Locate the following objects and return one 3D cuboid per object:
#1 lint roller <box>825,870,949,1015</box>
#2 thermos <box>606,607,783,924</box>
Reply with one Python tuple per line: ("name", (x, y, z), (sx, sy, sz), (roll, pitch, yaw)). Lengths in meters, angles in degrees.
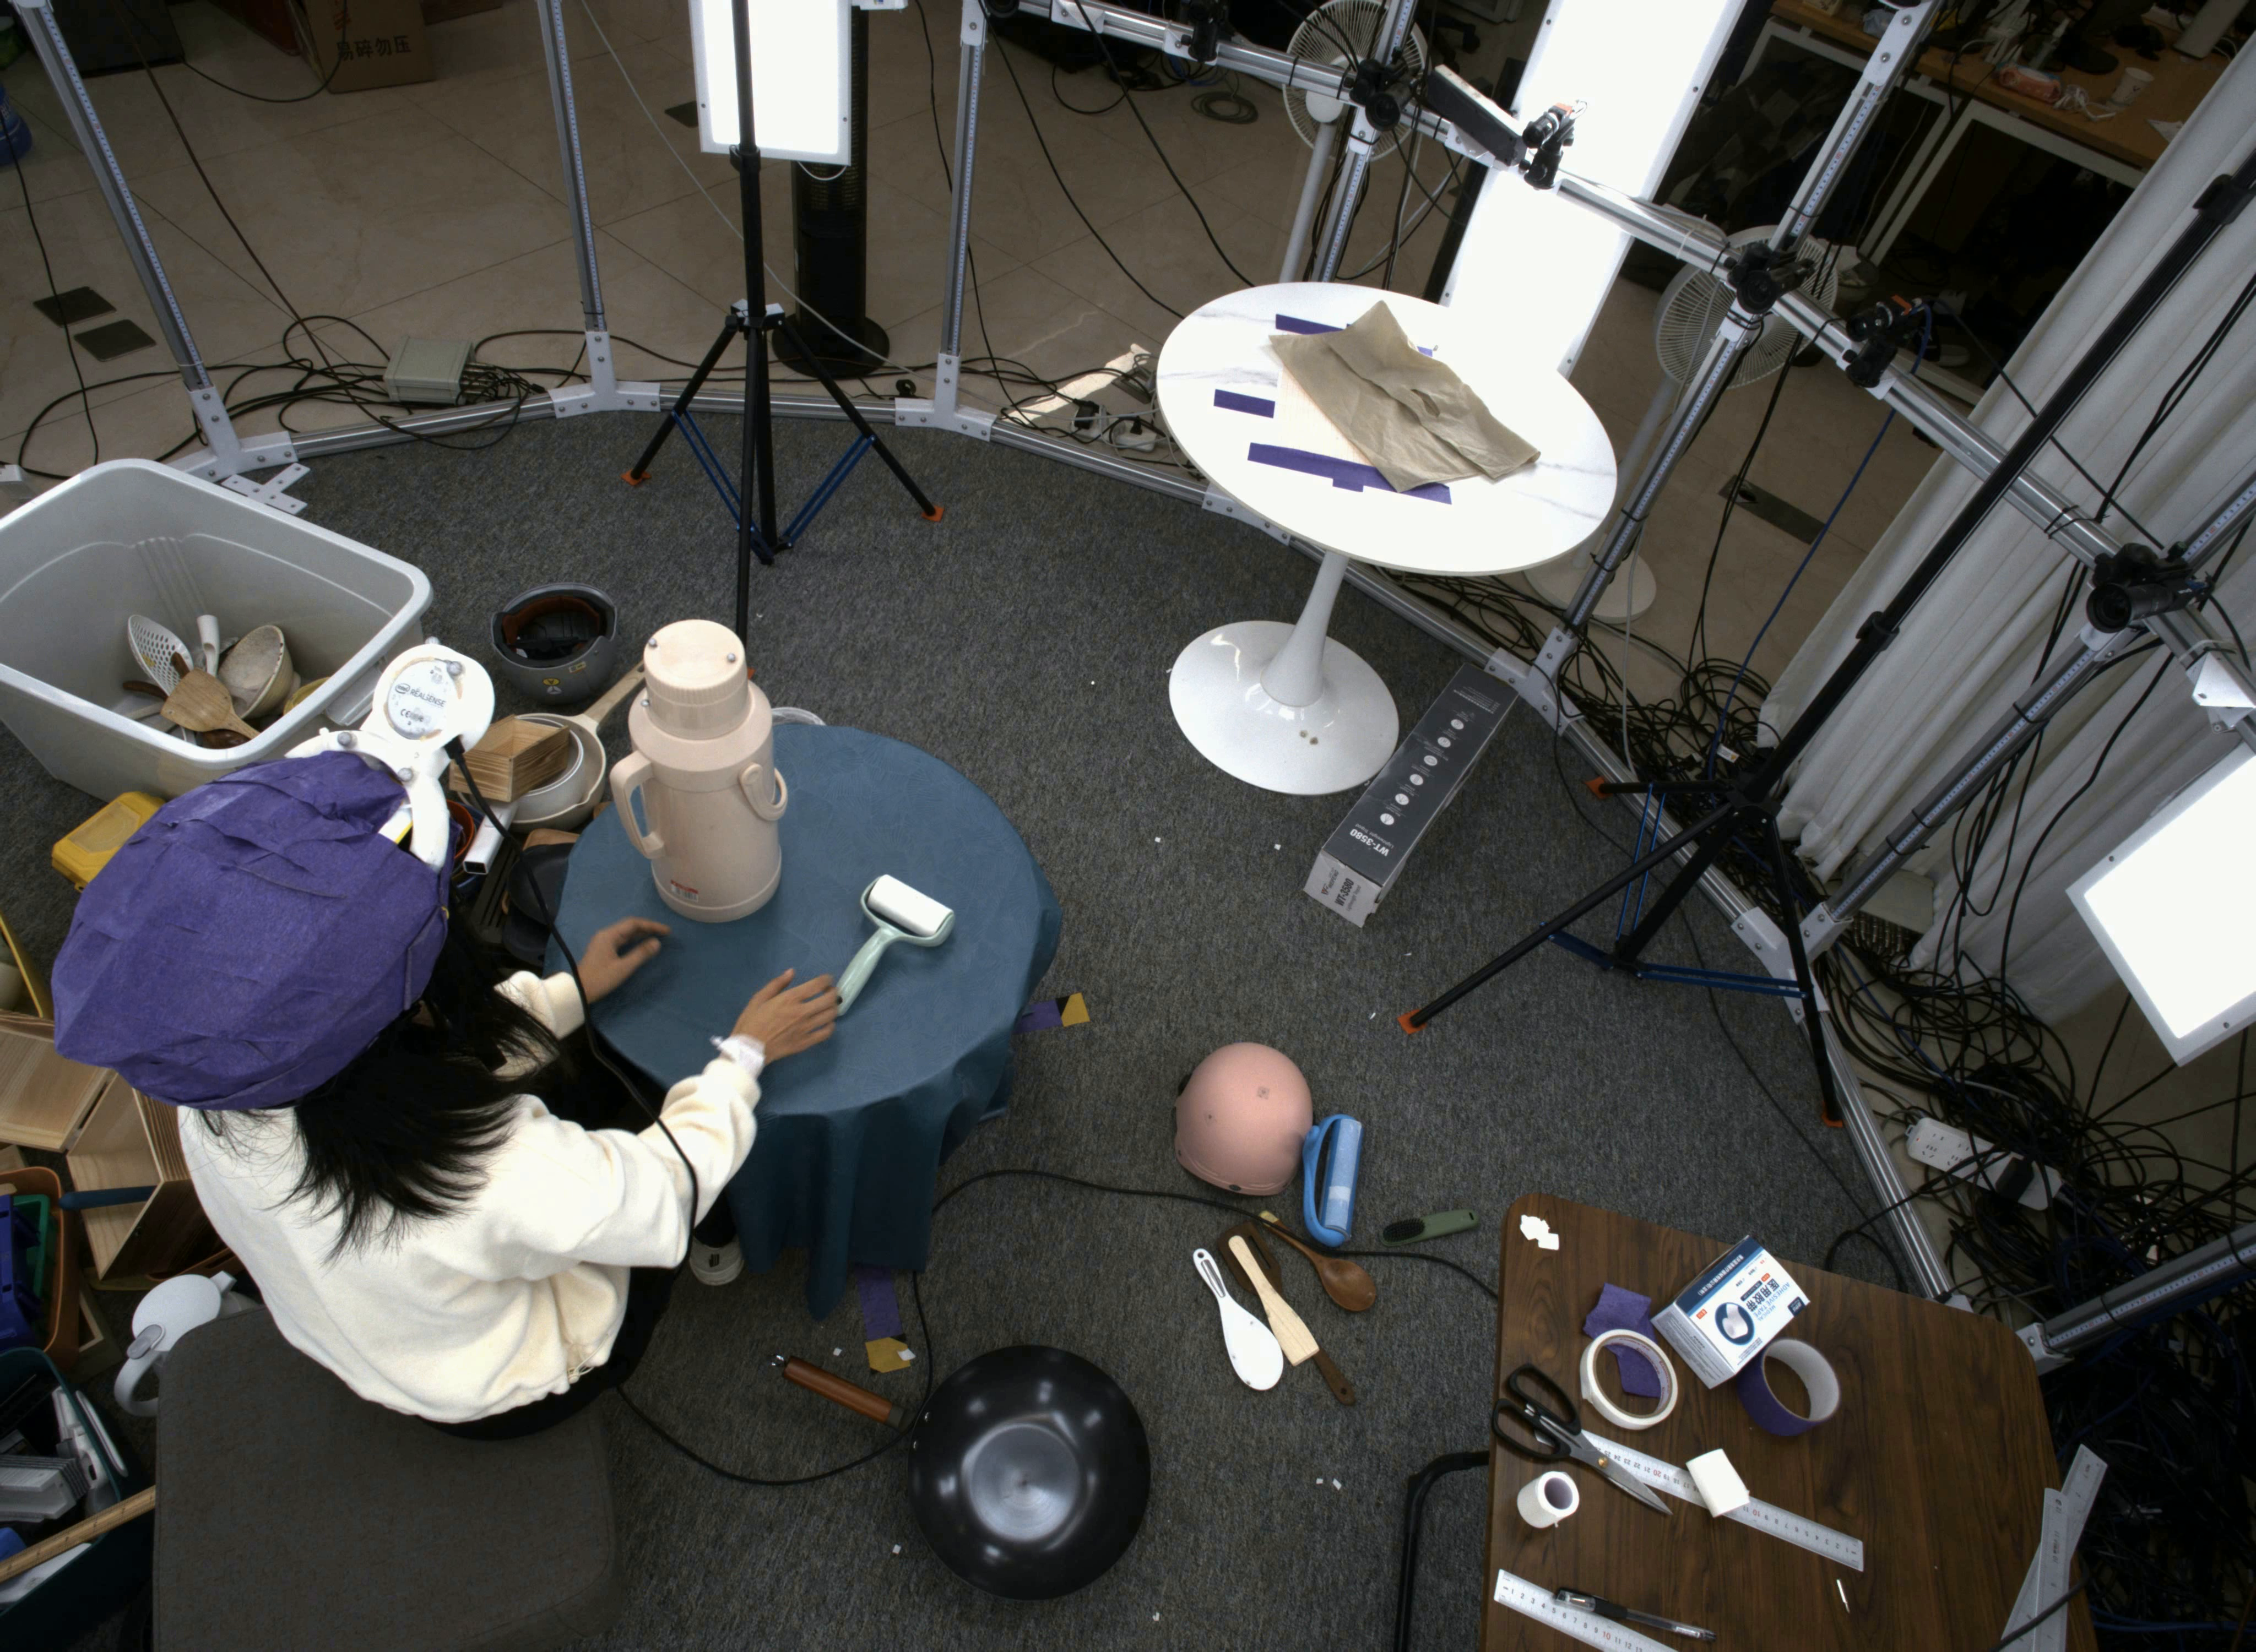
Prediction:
("lint roller", (-0.317, 0.146, 1.608), (0.115, 0.049, 0.196), (30, 52, 6))
("thermos", (-0.502, -0.059, 1.486), (0.171, 0.415, 0.207), (37, 54, 17))
